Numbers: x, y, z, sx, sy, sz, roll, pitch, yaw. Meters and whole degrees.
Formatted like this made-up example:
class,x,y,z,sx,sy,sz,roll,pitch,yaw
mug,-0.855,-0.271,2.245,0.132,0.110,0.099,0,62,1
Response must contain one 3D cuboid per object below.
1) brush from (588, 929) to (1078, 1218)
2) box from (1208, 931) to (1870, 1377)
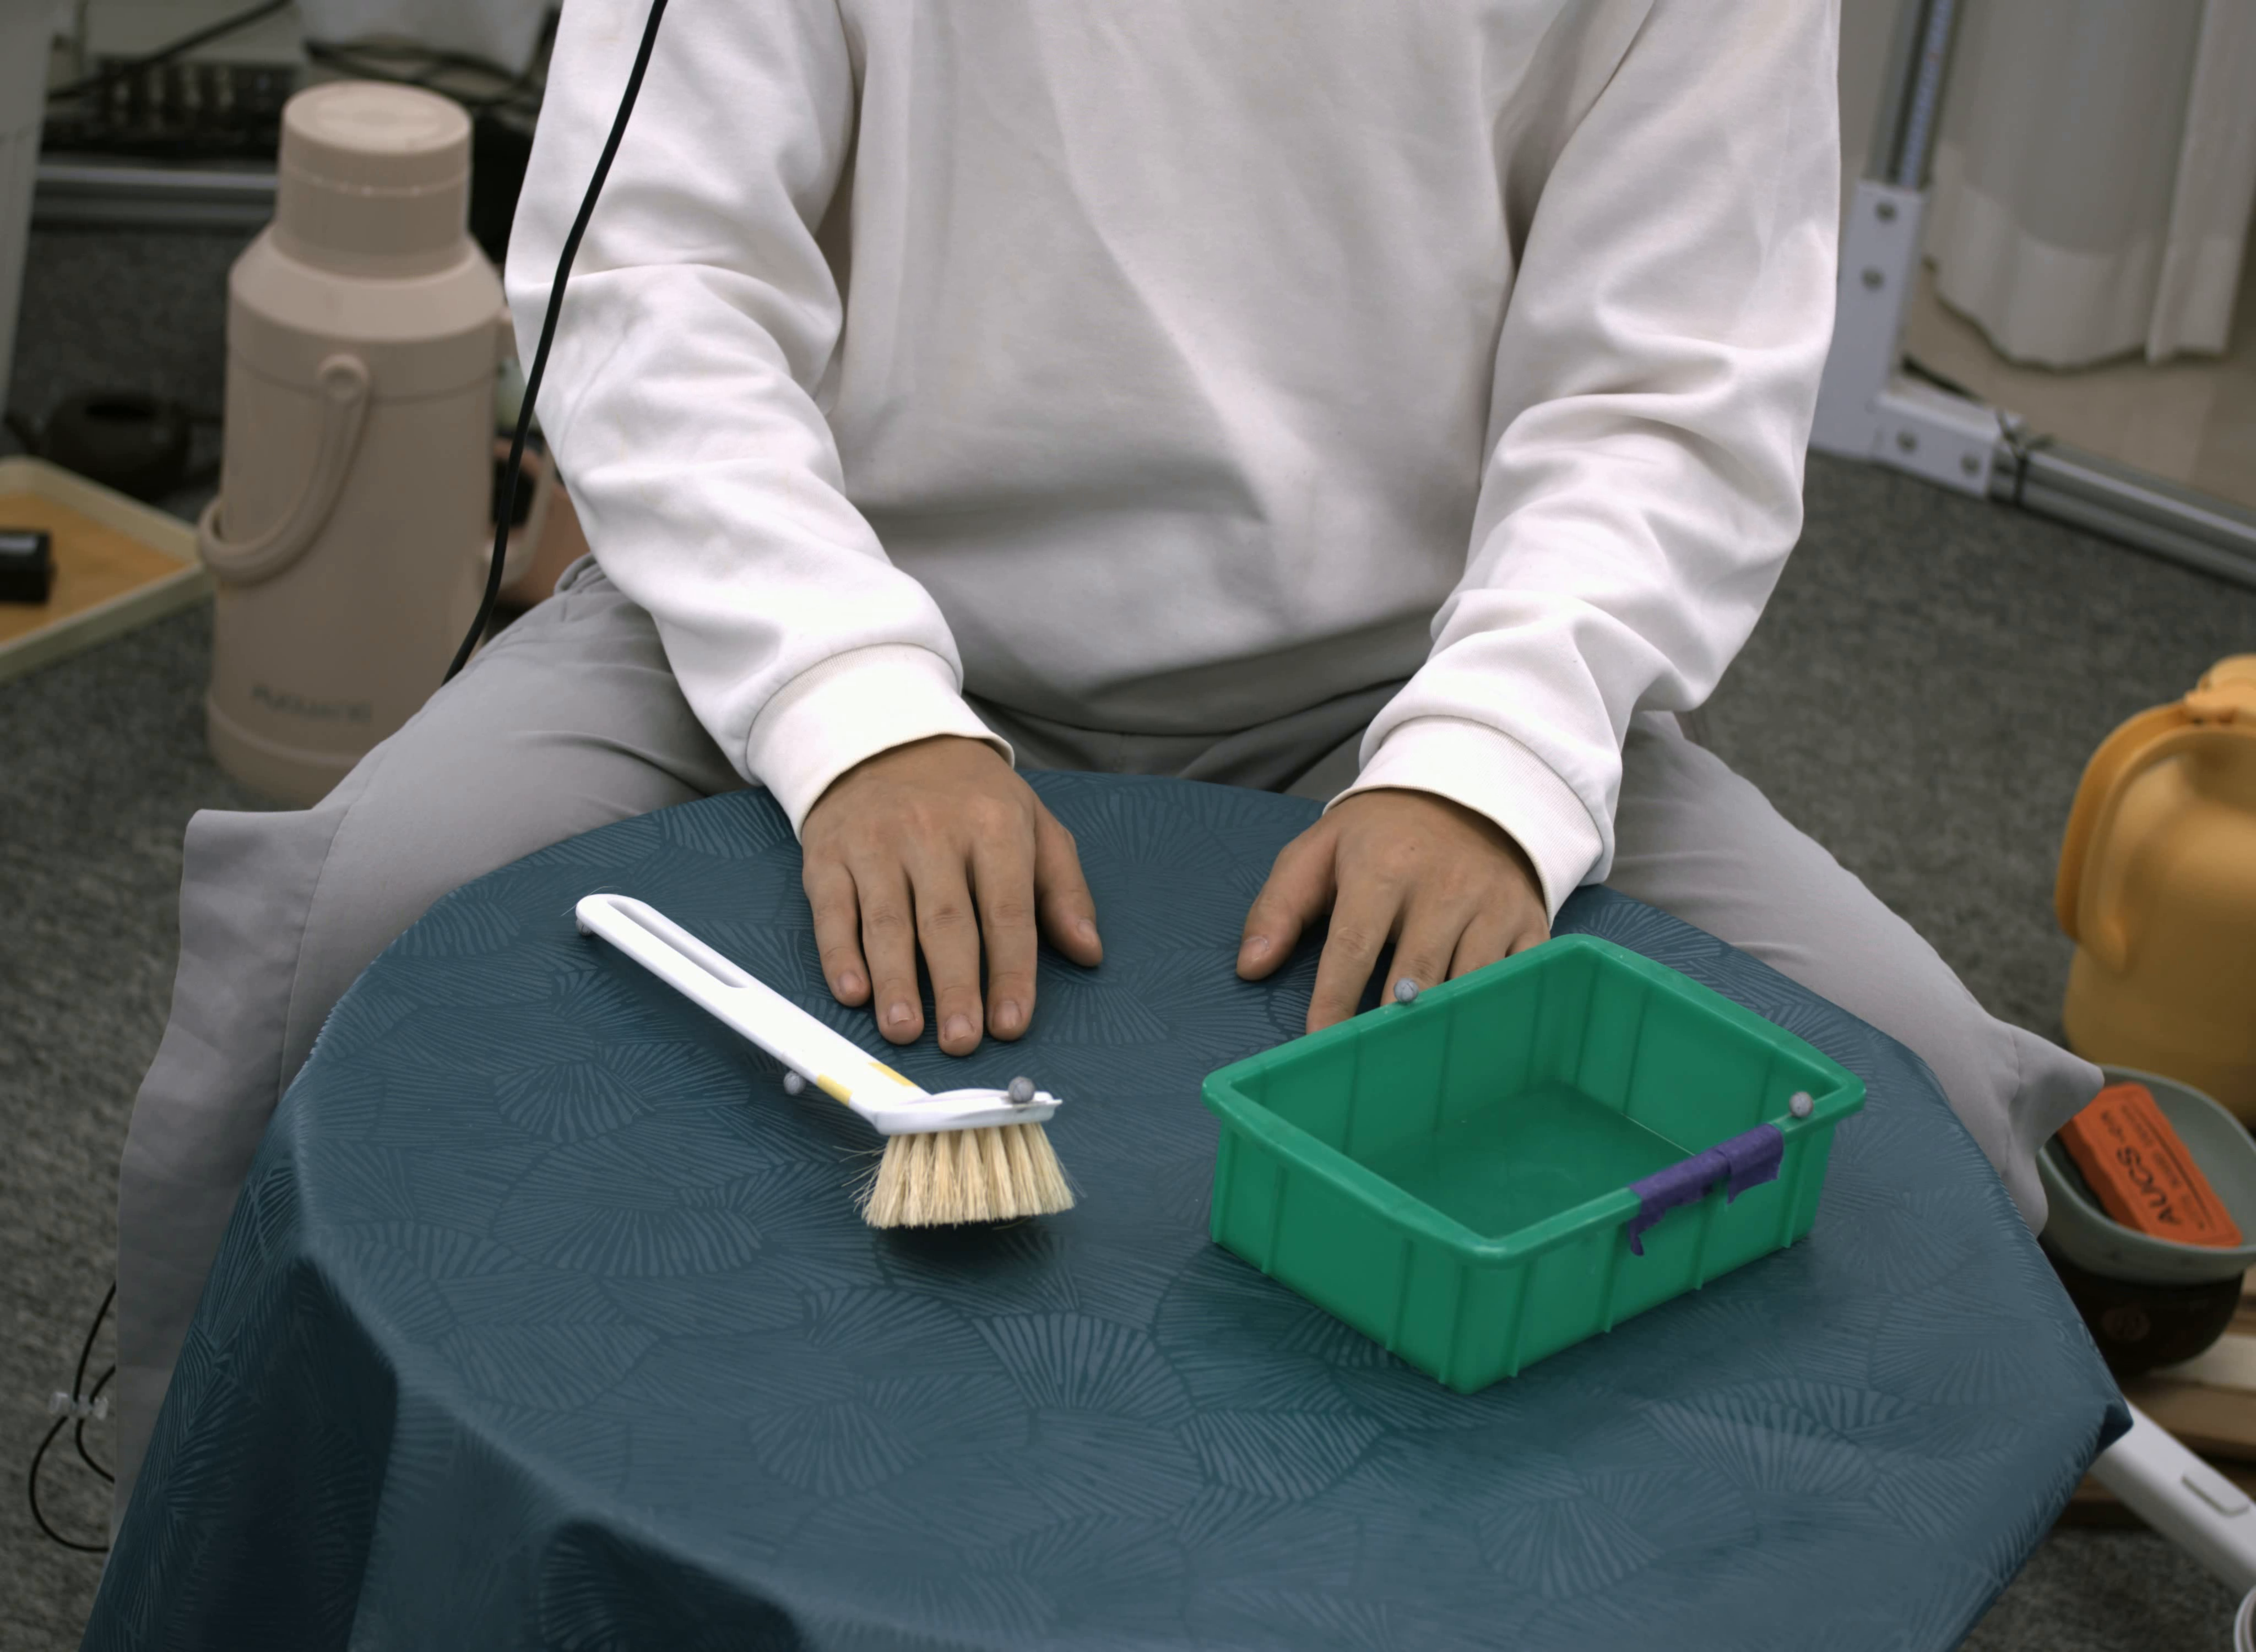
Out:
class,x,y,z,sx,sy,sz,roll,pitch,yaw
brush,-0.111,0.087,1.839,0.068,0.056,0.268,15,0,-41
box,0.136,0.110,1.796,0.140,0.065,0.209,29,32,37
